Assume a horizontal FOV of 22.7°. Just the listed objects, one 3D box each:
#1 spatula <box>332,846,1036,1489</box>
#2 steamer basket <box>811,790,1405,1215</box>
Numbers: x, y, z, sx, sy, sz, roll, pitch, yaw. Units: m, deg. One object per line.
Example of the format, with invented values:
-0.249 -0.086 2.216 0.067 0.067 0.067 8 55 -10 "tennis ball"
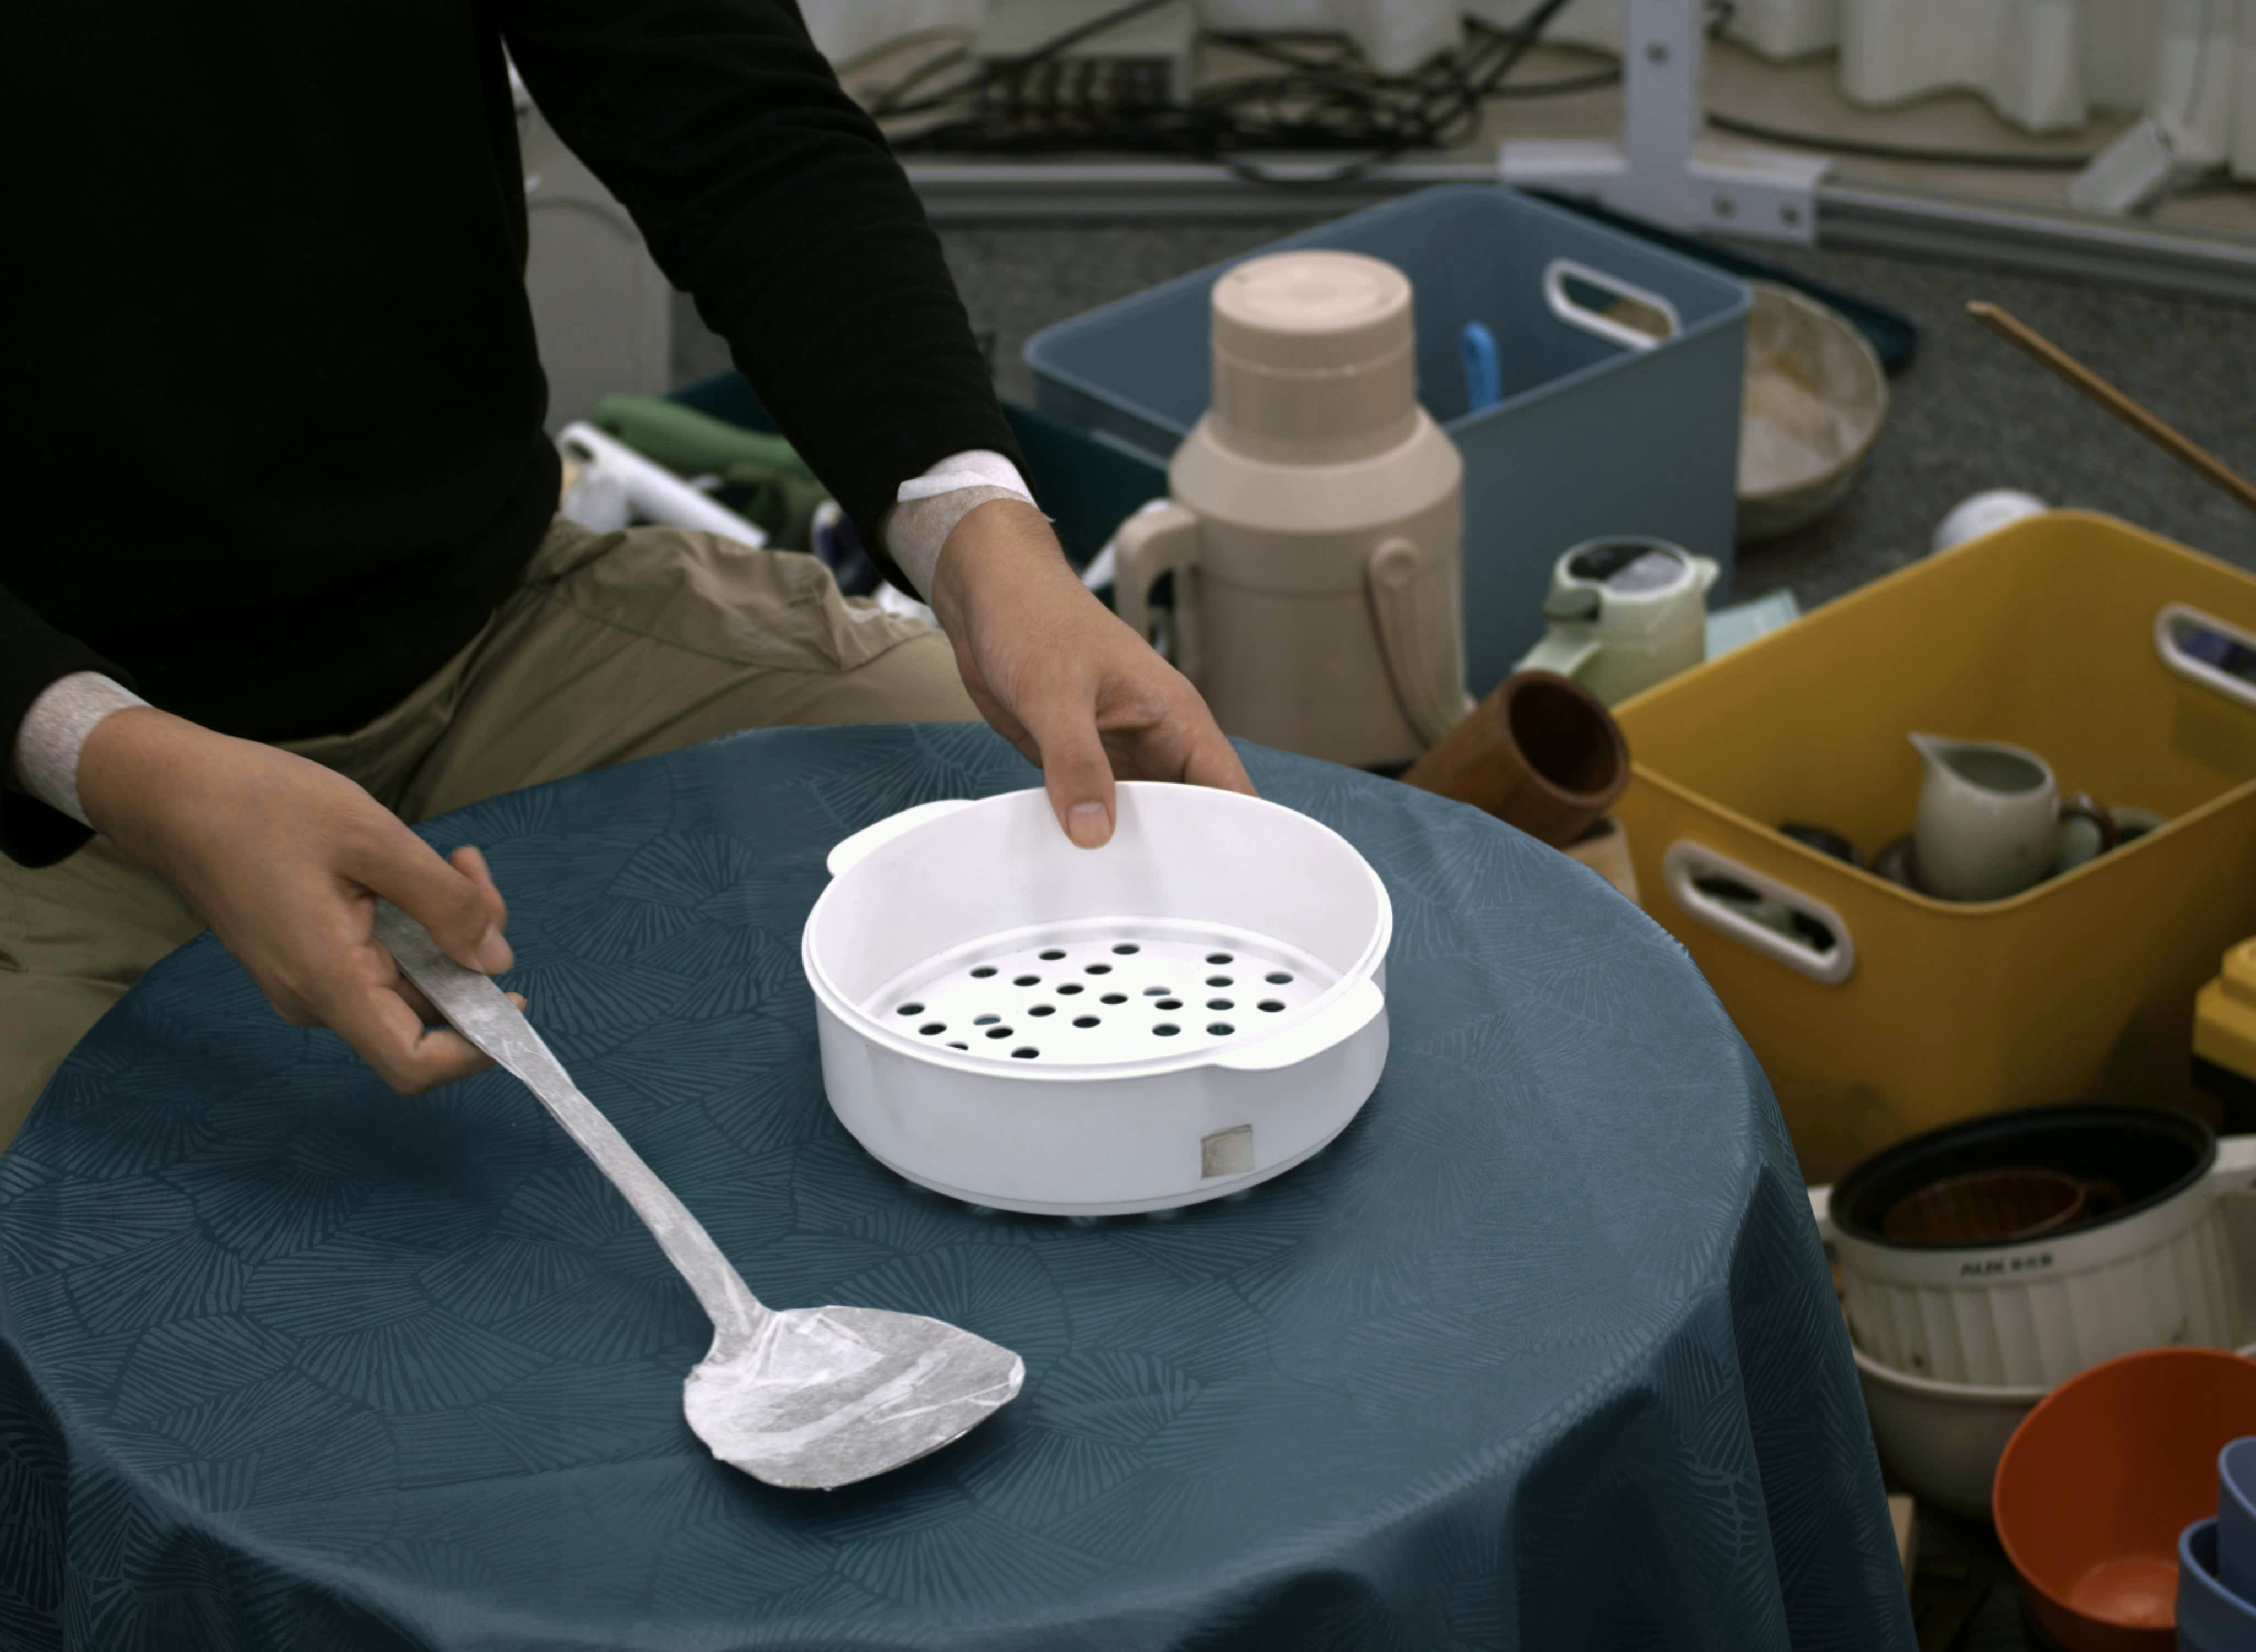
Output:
-0.166 0.100 1.818 0.099 0.044 0.367 -24 49 -29 "spatula"
-0.006 0.060 1.905 0.204 0.068 0.230 -24 33 -37 "steamer basket"
